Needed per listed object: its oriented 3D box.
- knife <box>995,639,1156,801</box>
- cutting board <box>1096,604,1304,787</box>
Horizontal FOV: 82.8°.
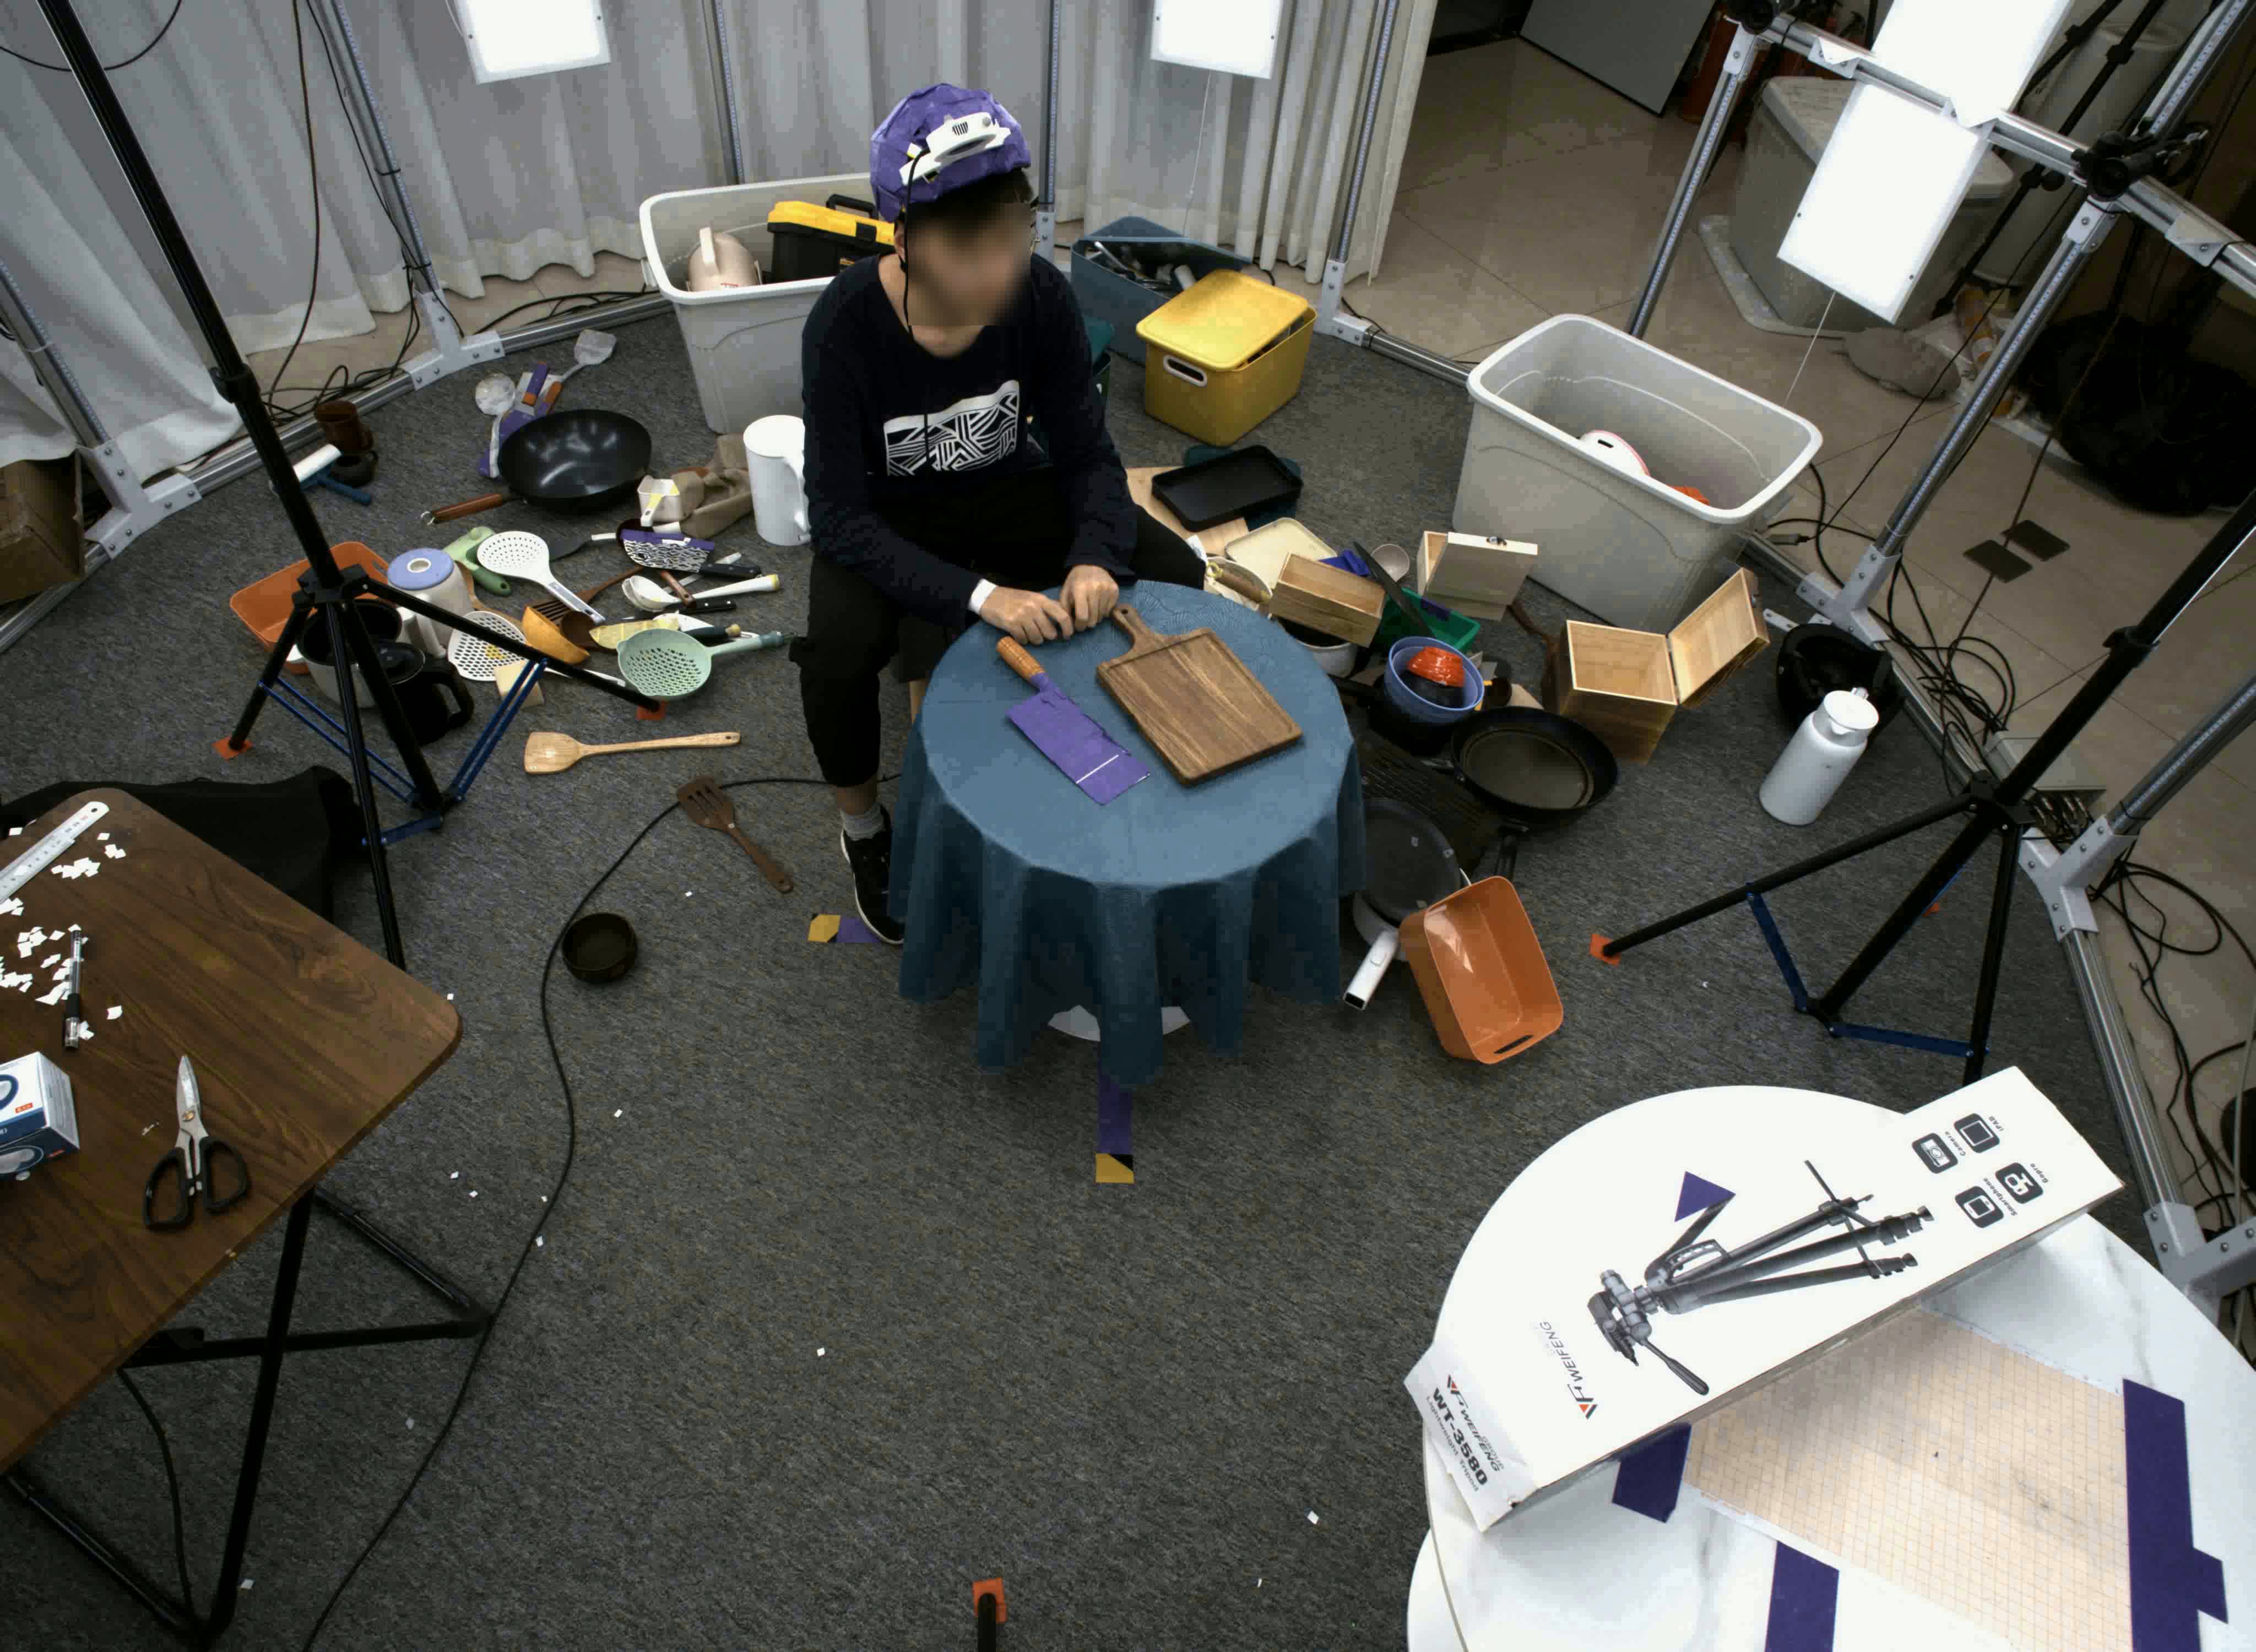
[{"bbox_3d":[-0.101,-0.150,1.773,0.104,0.031,0.320,-32,58,-27],"label":"knife"},{"bbox_3d":[0.074,-0.209,1.840,0.201,0.022,0.359,-22,54,-21],"label":"cutting board"}]
